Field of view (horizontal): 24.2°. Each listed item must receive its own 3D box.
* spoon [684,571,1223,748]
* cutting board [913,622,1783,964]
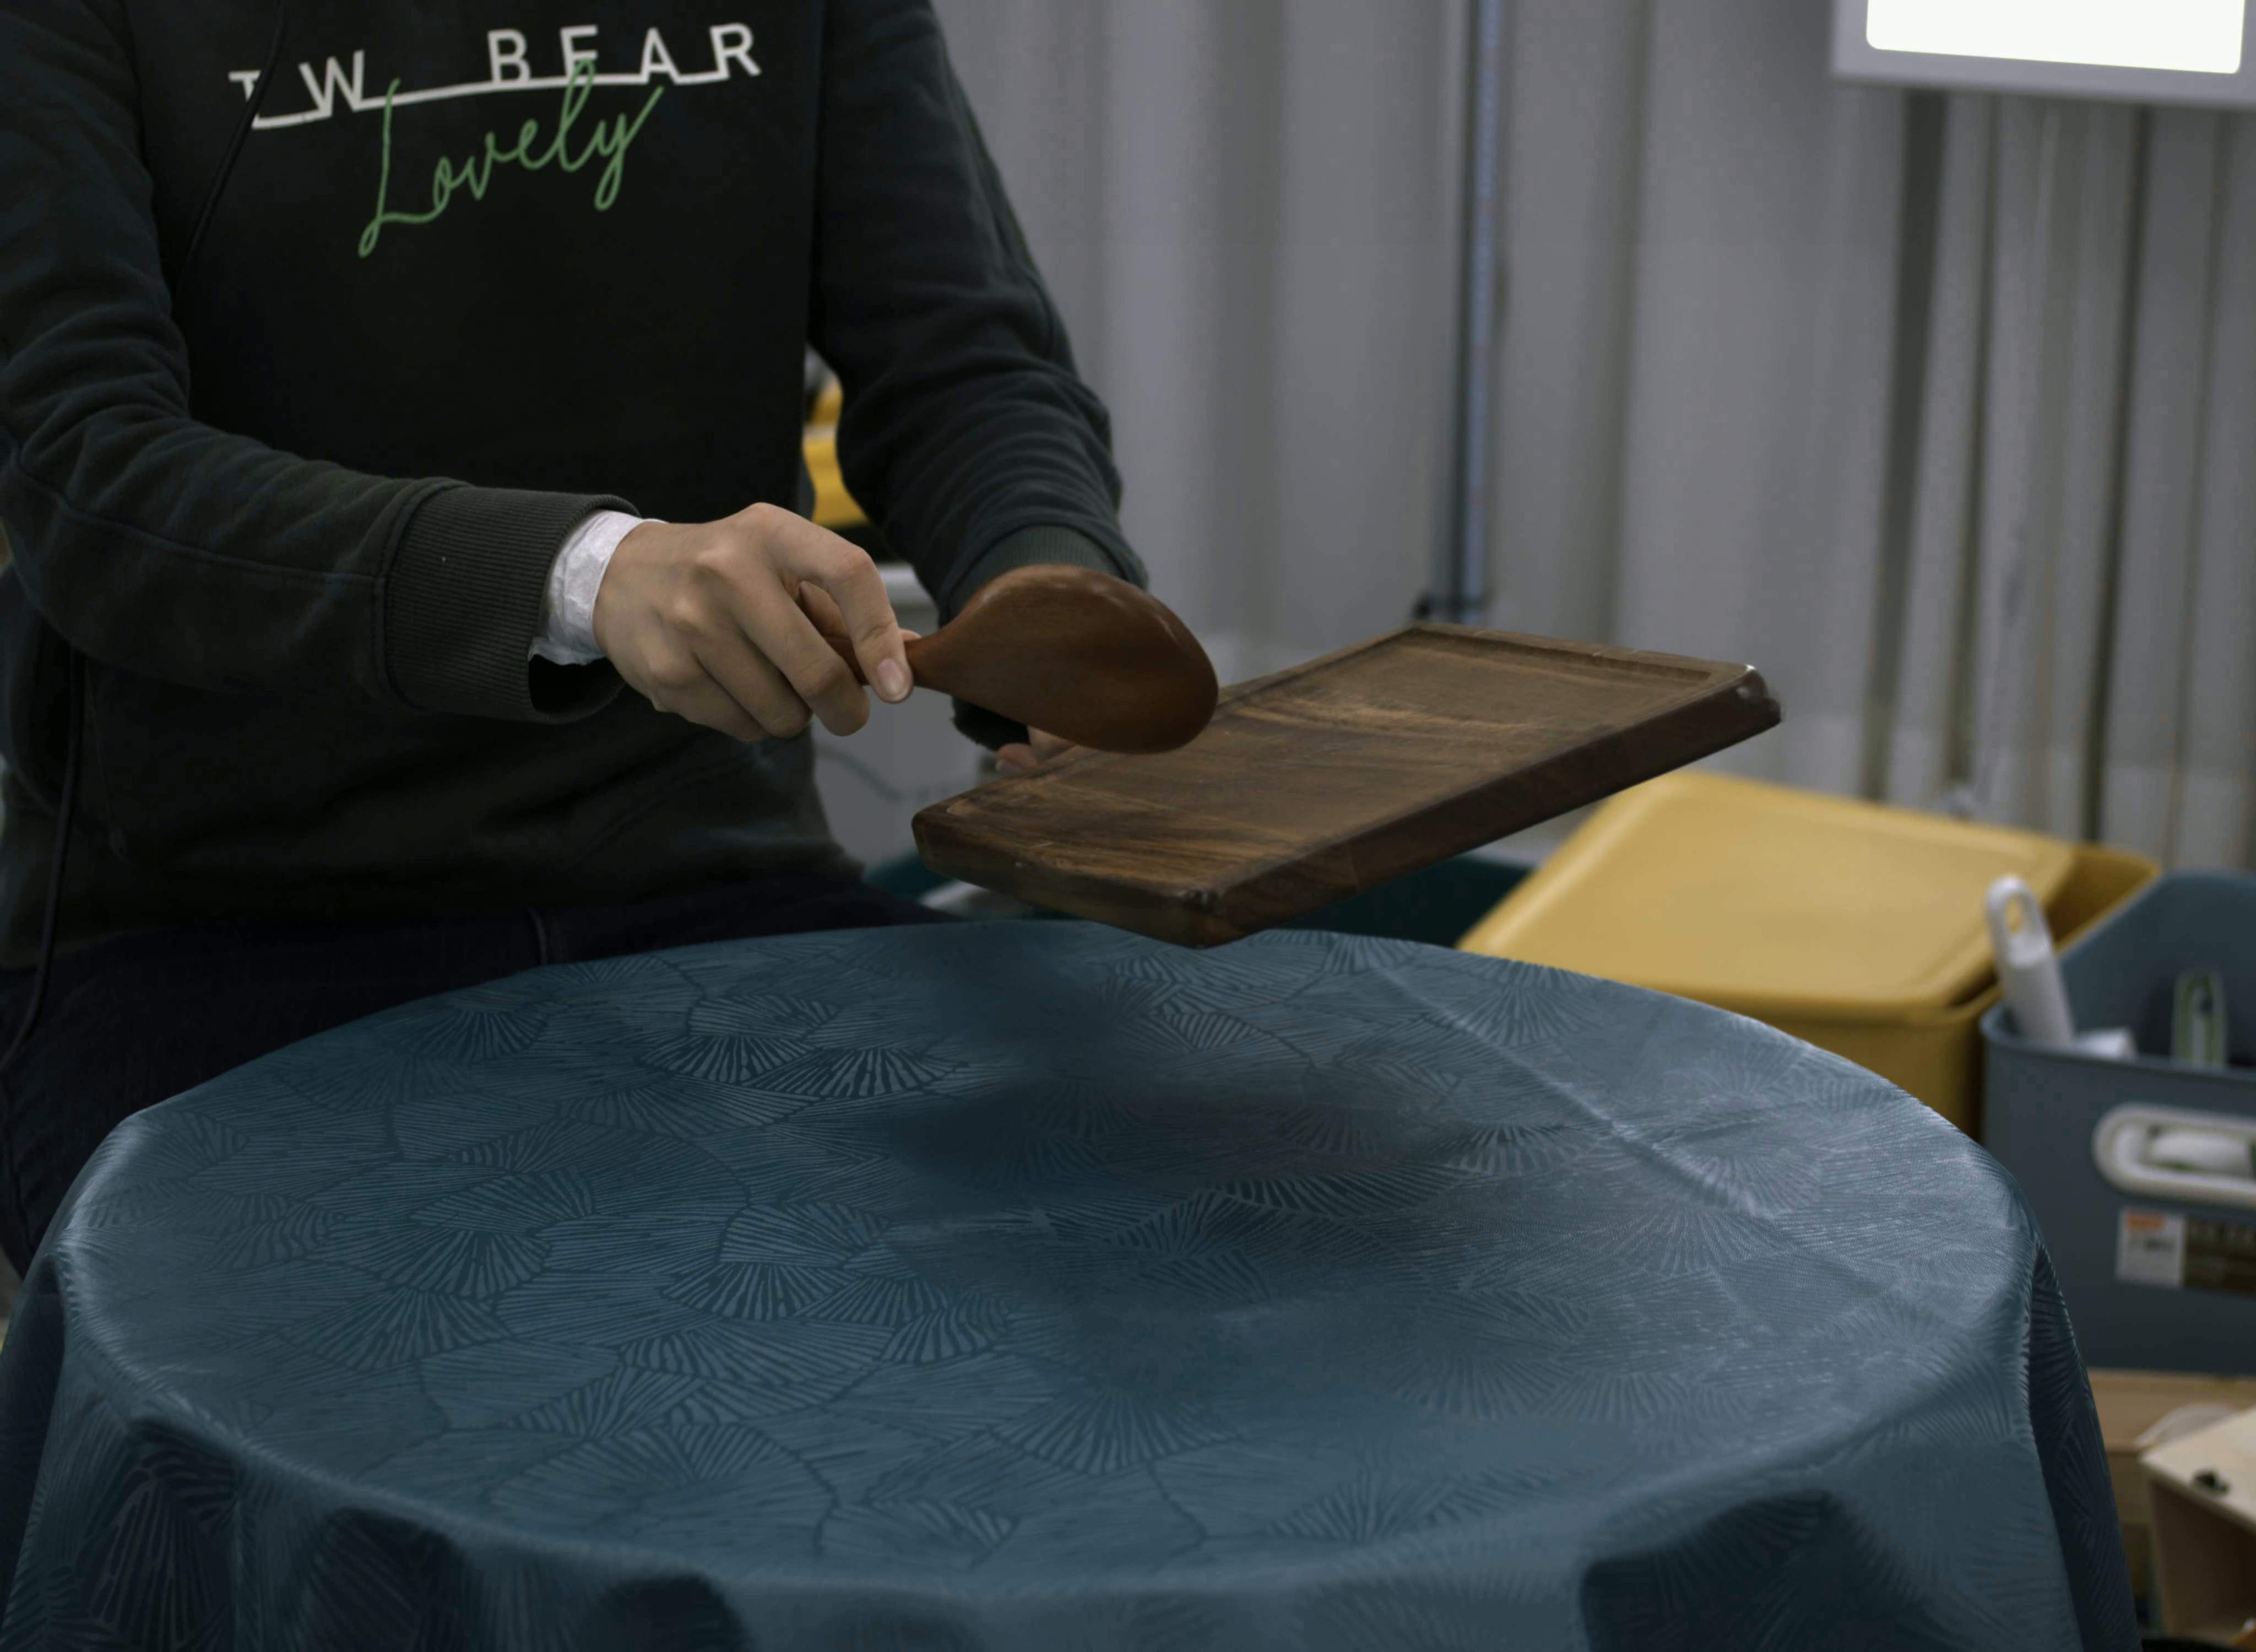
[{"bbox_3d":[-0.059,-0.050,1.637,0.213,0.076,0.017,3,50,41],"label":"spoon"},{"bbox_3d":[0.044,-0.019,1.674,0.201,0.023,0.349,-22,13,-18],"label":"cutting board"}]
